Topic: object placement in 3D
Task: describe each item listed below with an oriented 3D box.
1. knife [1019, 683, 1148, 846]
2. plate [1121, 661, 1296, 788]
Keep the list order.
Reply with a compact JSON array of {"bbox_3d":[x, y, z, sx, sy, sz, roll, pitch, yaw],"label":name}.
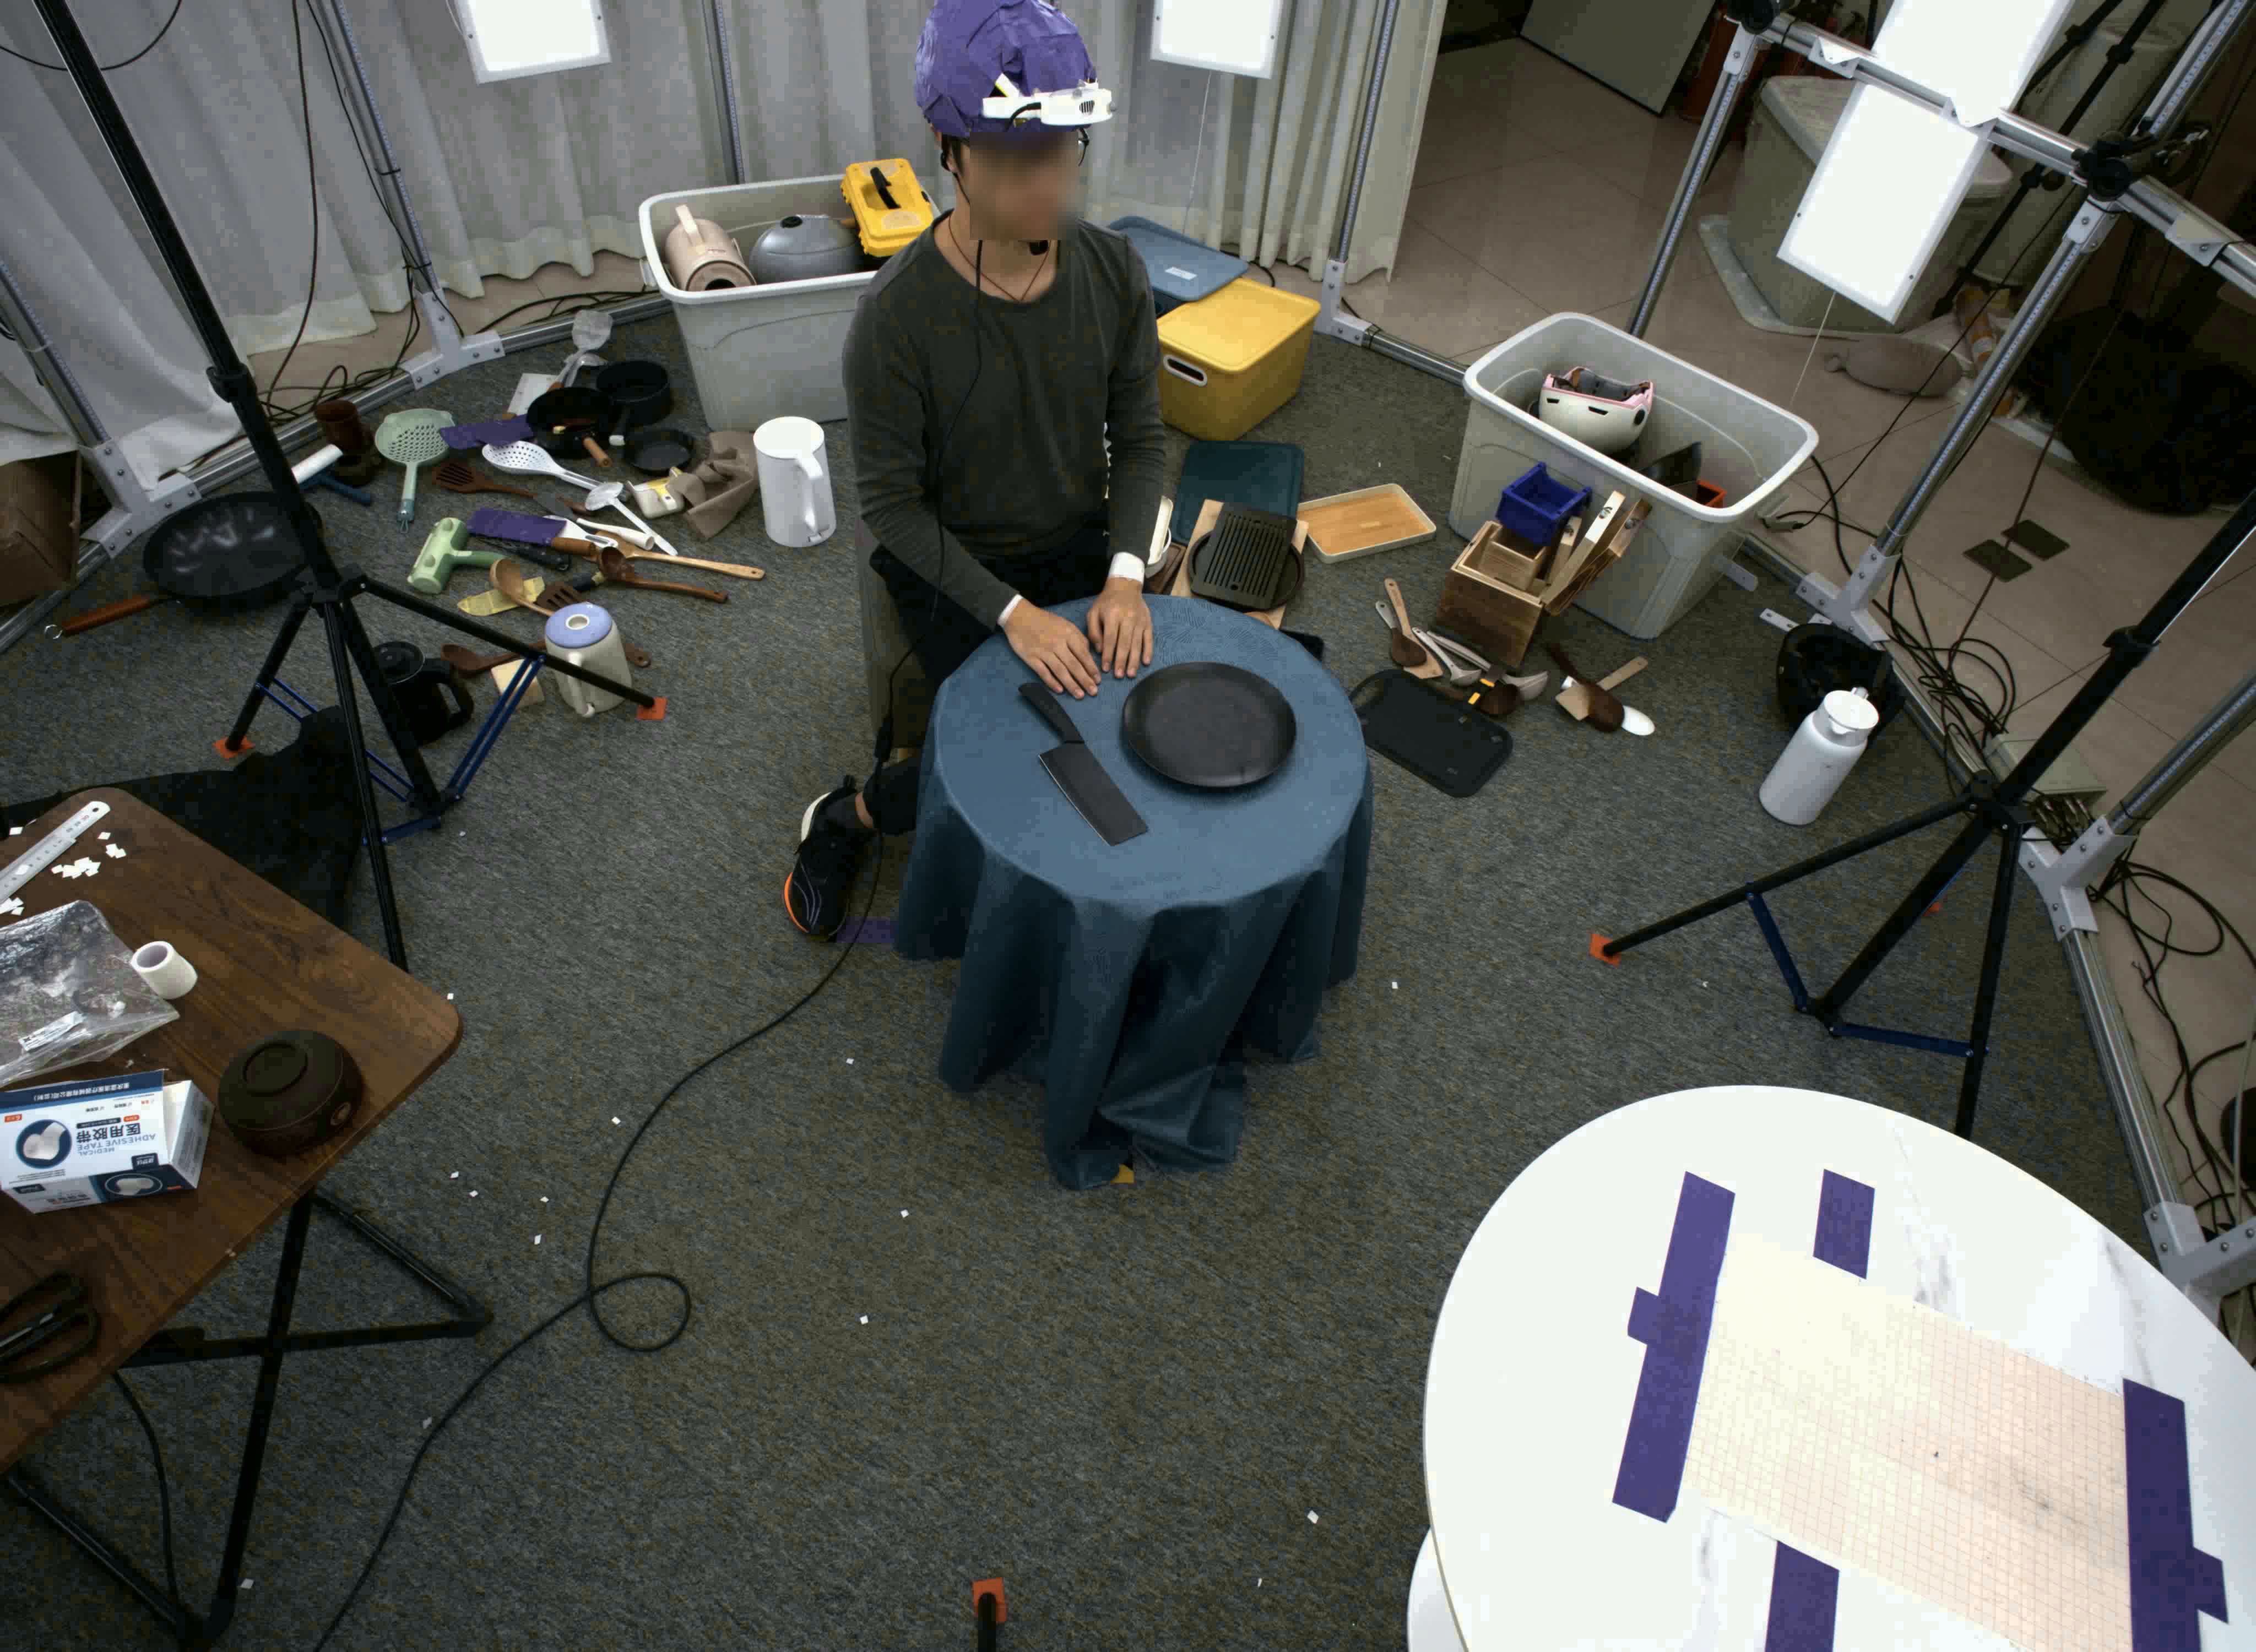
[{"bbox_3d":[-0.073,-0.089,1.731,0.081,0.020,0.309,-19,55,-18],"label":"knife"},{"bbox_3d":[0.112,-0.139,1.780,0.244,0.023,0.250,2,49,-2],"label":"plate"}]
